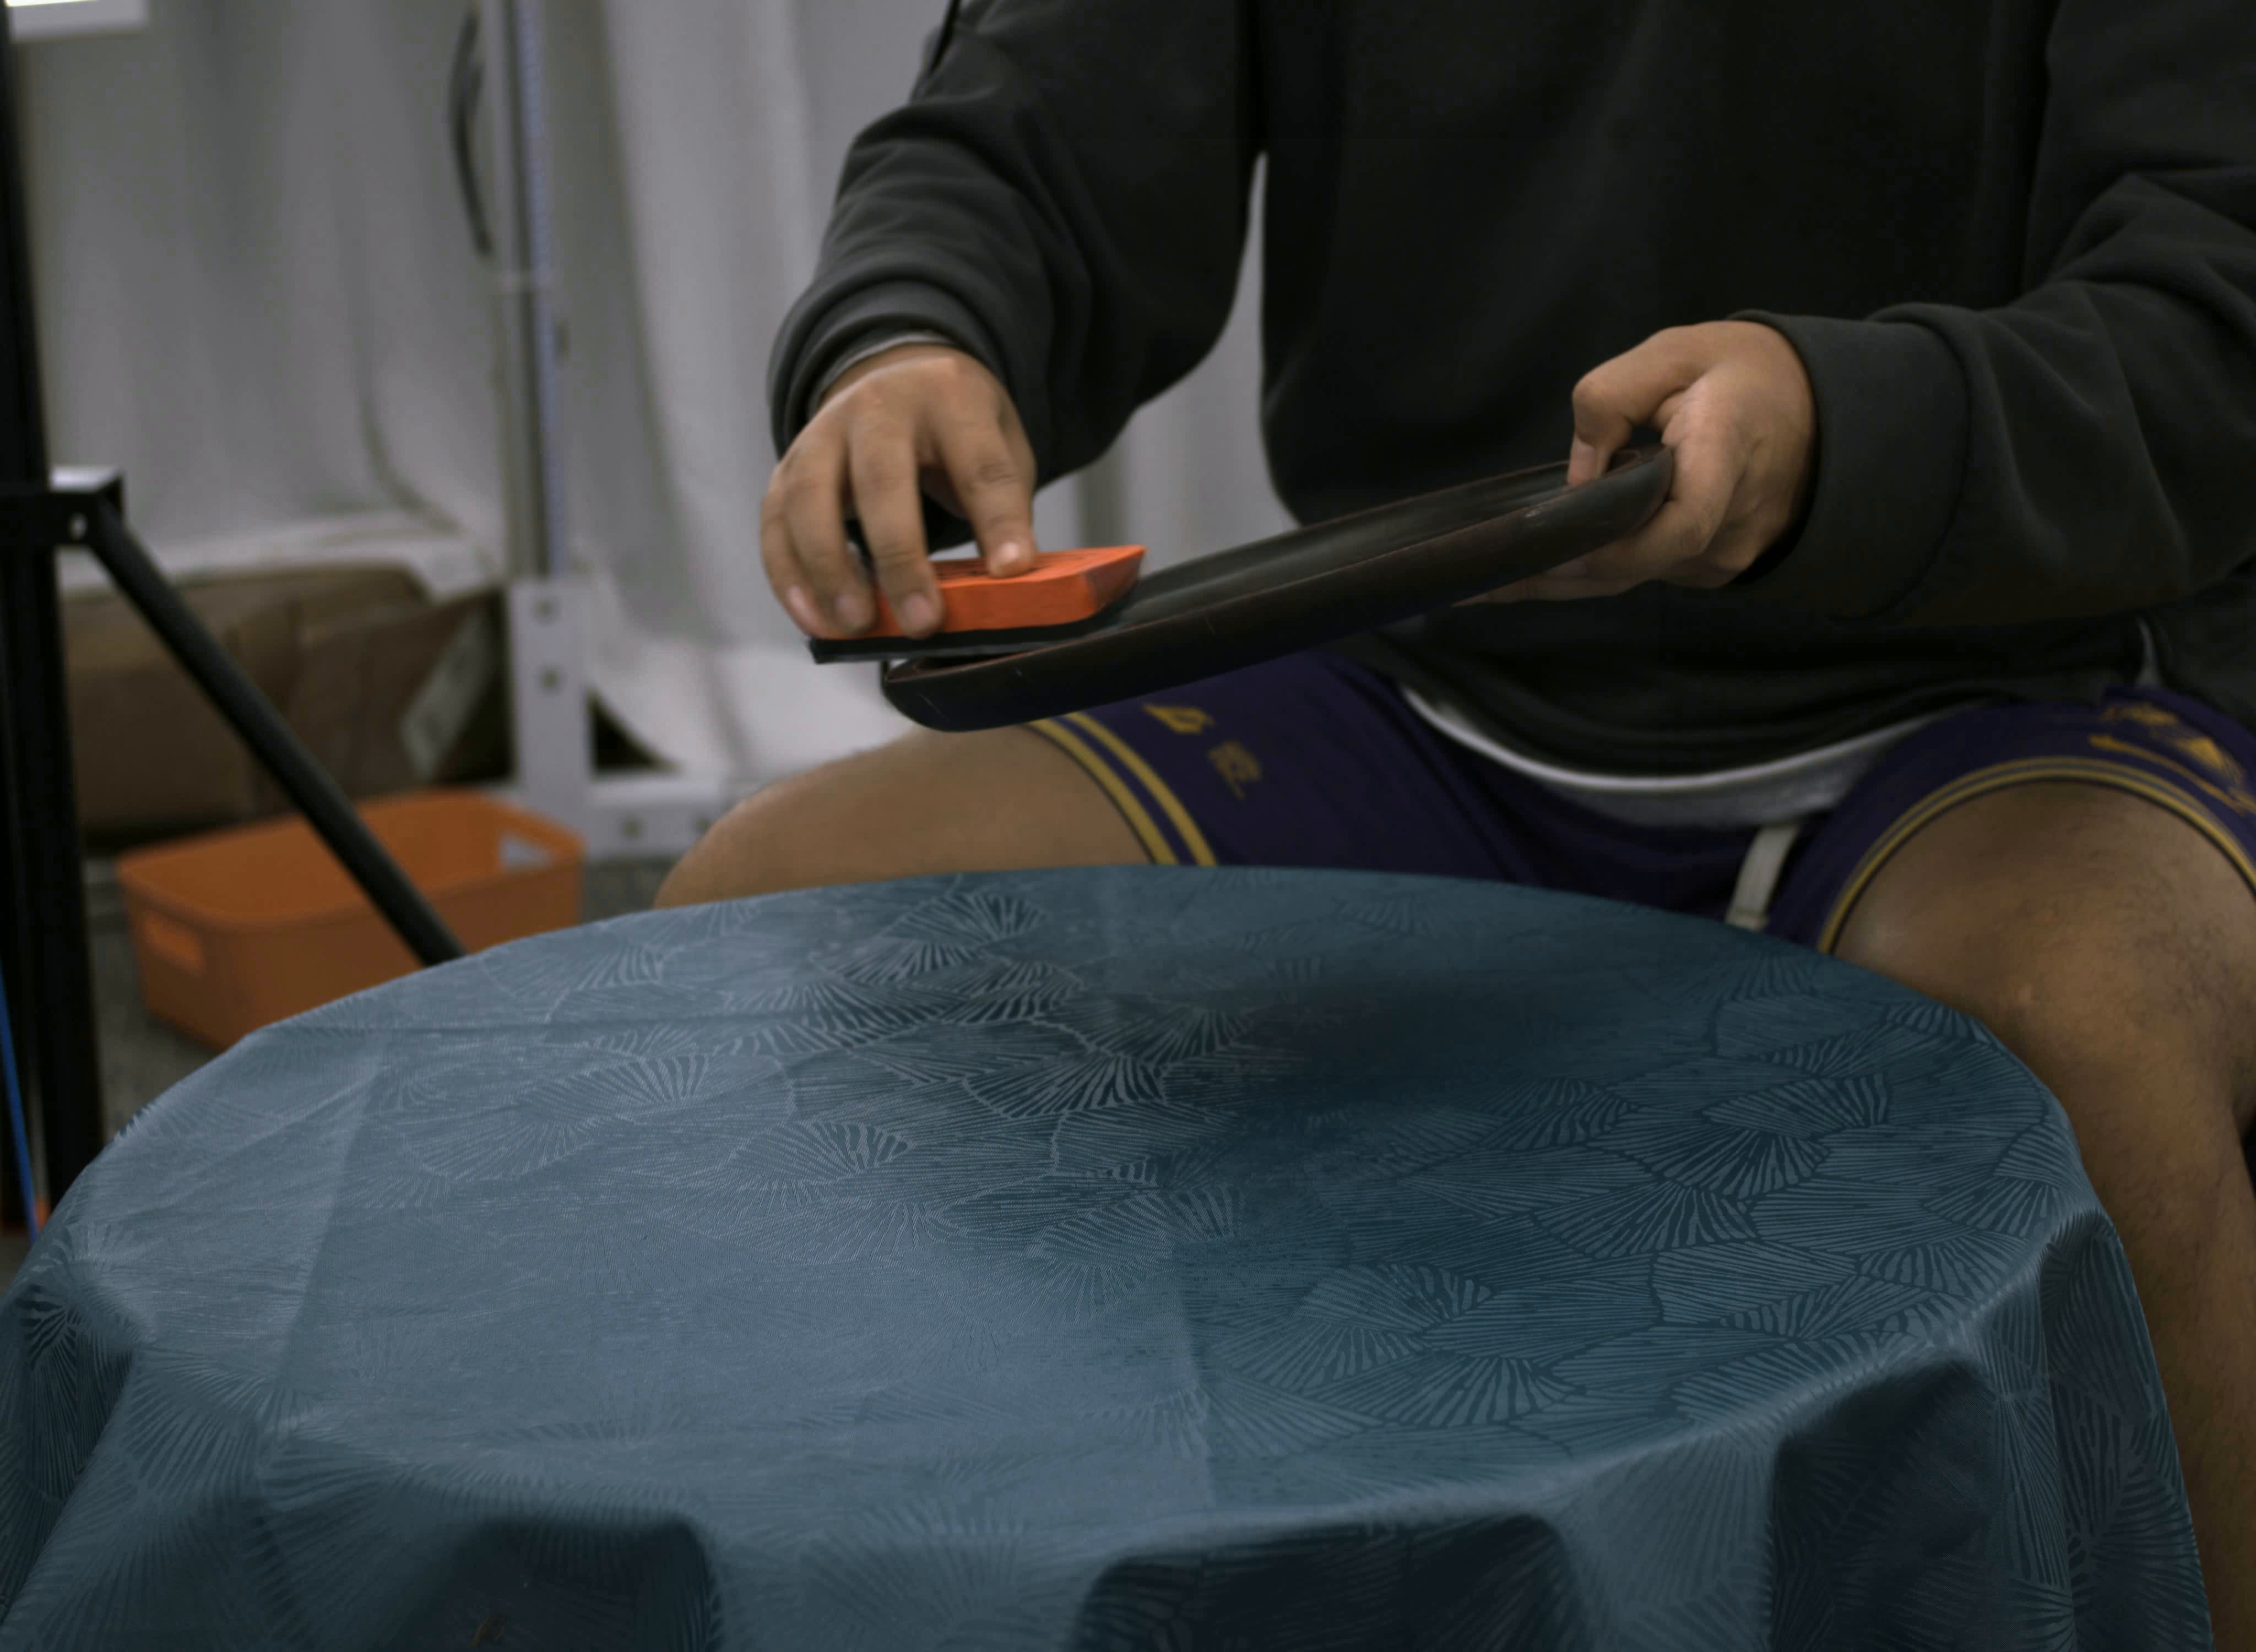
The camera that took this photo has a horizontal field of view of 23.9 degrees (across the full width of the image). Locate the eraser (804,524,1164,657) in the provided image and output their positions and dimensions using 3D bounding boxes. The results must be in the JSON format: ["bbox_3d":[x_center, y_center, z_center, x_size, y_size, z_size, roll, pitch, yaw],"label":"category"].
[{"bbox_3d":[-0.046,-0.075,1.701,0.110,0.023,0.058,-4,15,32],"label":"eraser"}]

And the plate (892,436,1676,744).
[{"bbox_3d":[0.049,-0.072,1.645,0.254,0.029,0.255,-18,5,0],"label":"plate"}]
